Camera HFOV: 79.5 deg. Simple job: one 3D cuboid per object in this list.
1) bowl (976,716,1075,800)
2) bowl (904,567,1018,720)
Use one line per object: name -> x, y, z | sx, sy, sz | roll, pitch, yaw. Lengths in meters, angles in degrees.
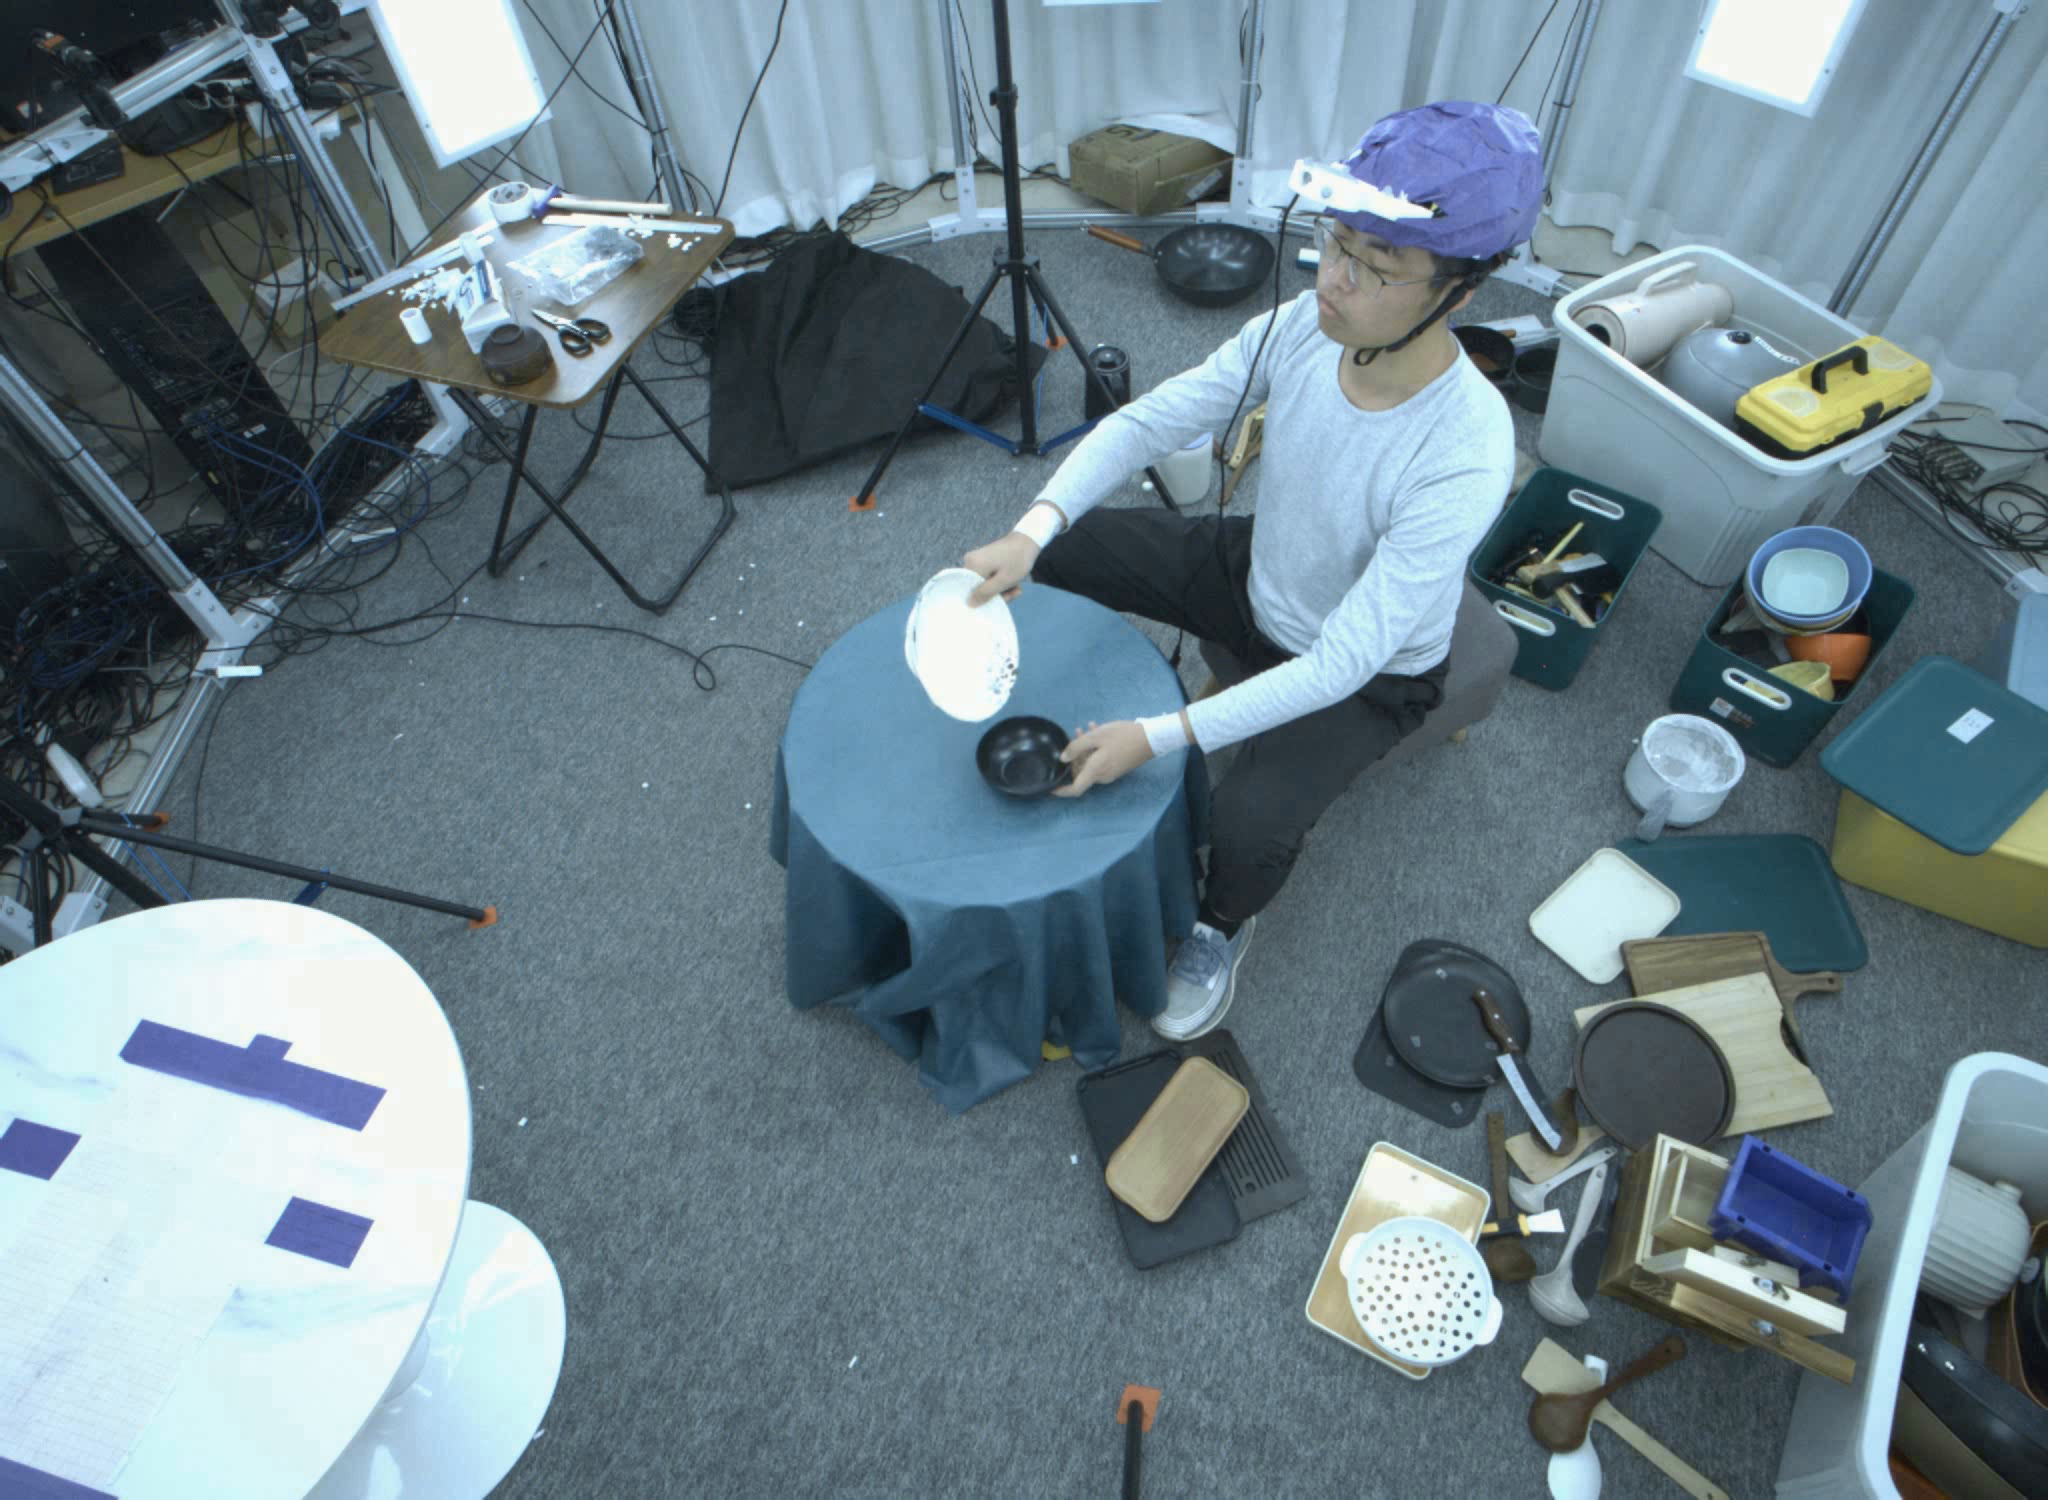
bowl -> 0.002, 0.020, 1.755 | 0.140, 0.050, 0.138 | 2, 53, -2
bowl -> -0.103, -0.138, 1.643 | 0.076, 0.208, 0.204 | -4, 47, 40
